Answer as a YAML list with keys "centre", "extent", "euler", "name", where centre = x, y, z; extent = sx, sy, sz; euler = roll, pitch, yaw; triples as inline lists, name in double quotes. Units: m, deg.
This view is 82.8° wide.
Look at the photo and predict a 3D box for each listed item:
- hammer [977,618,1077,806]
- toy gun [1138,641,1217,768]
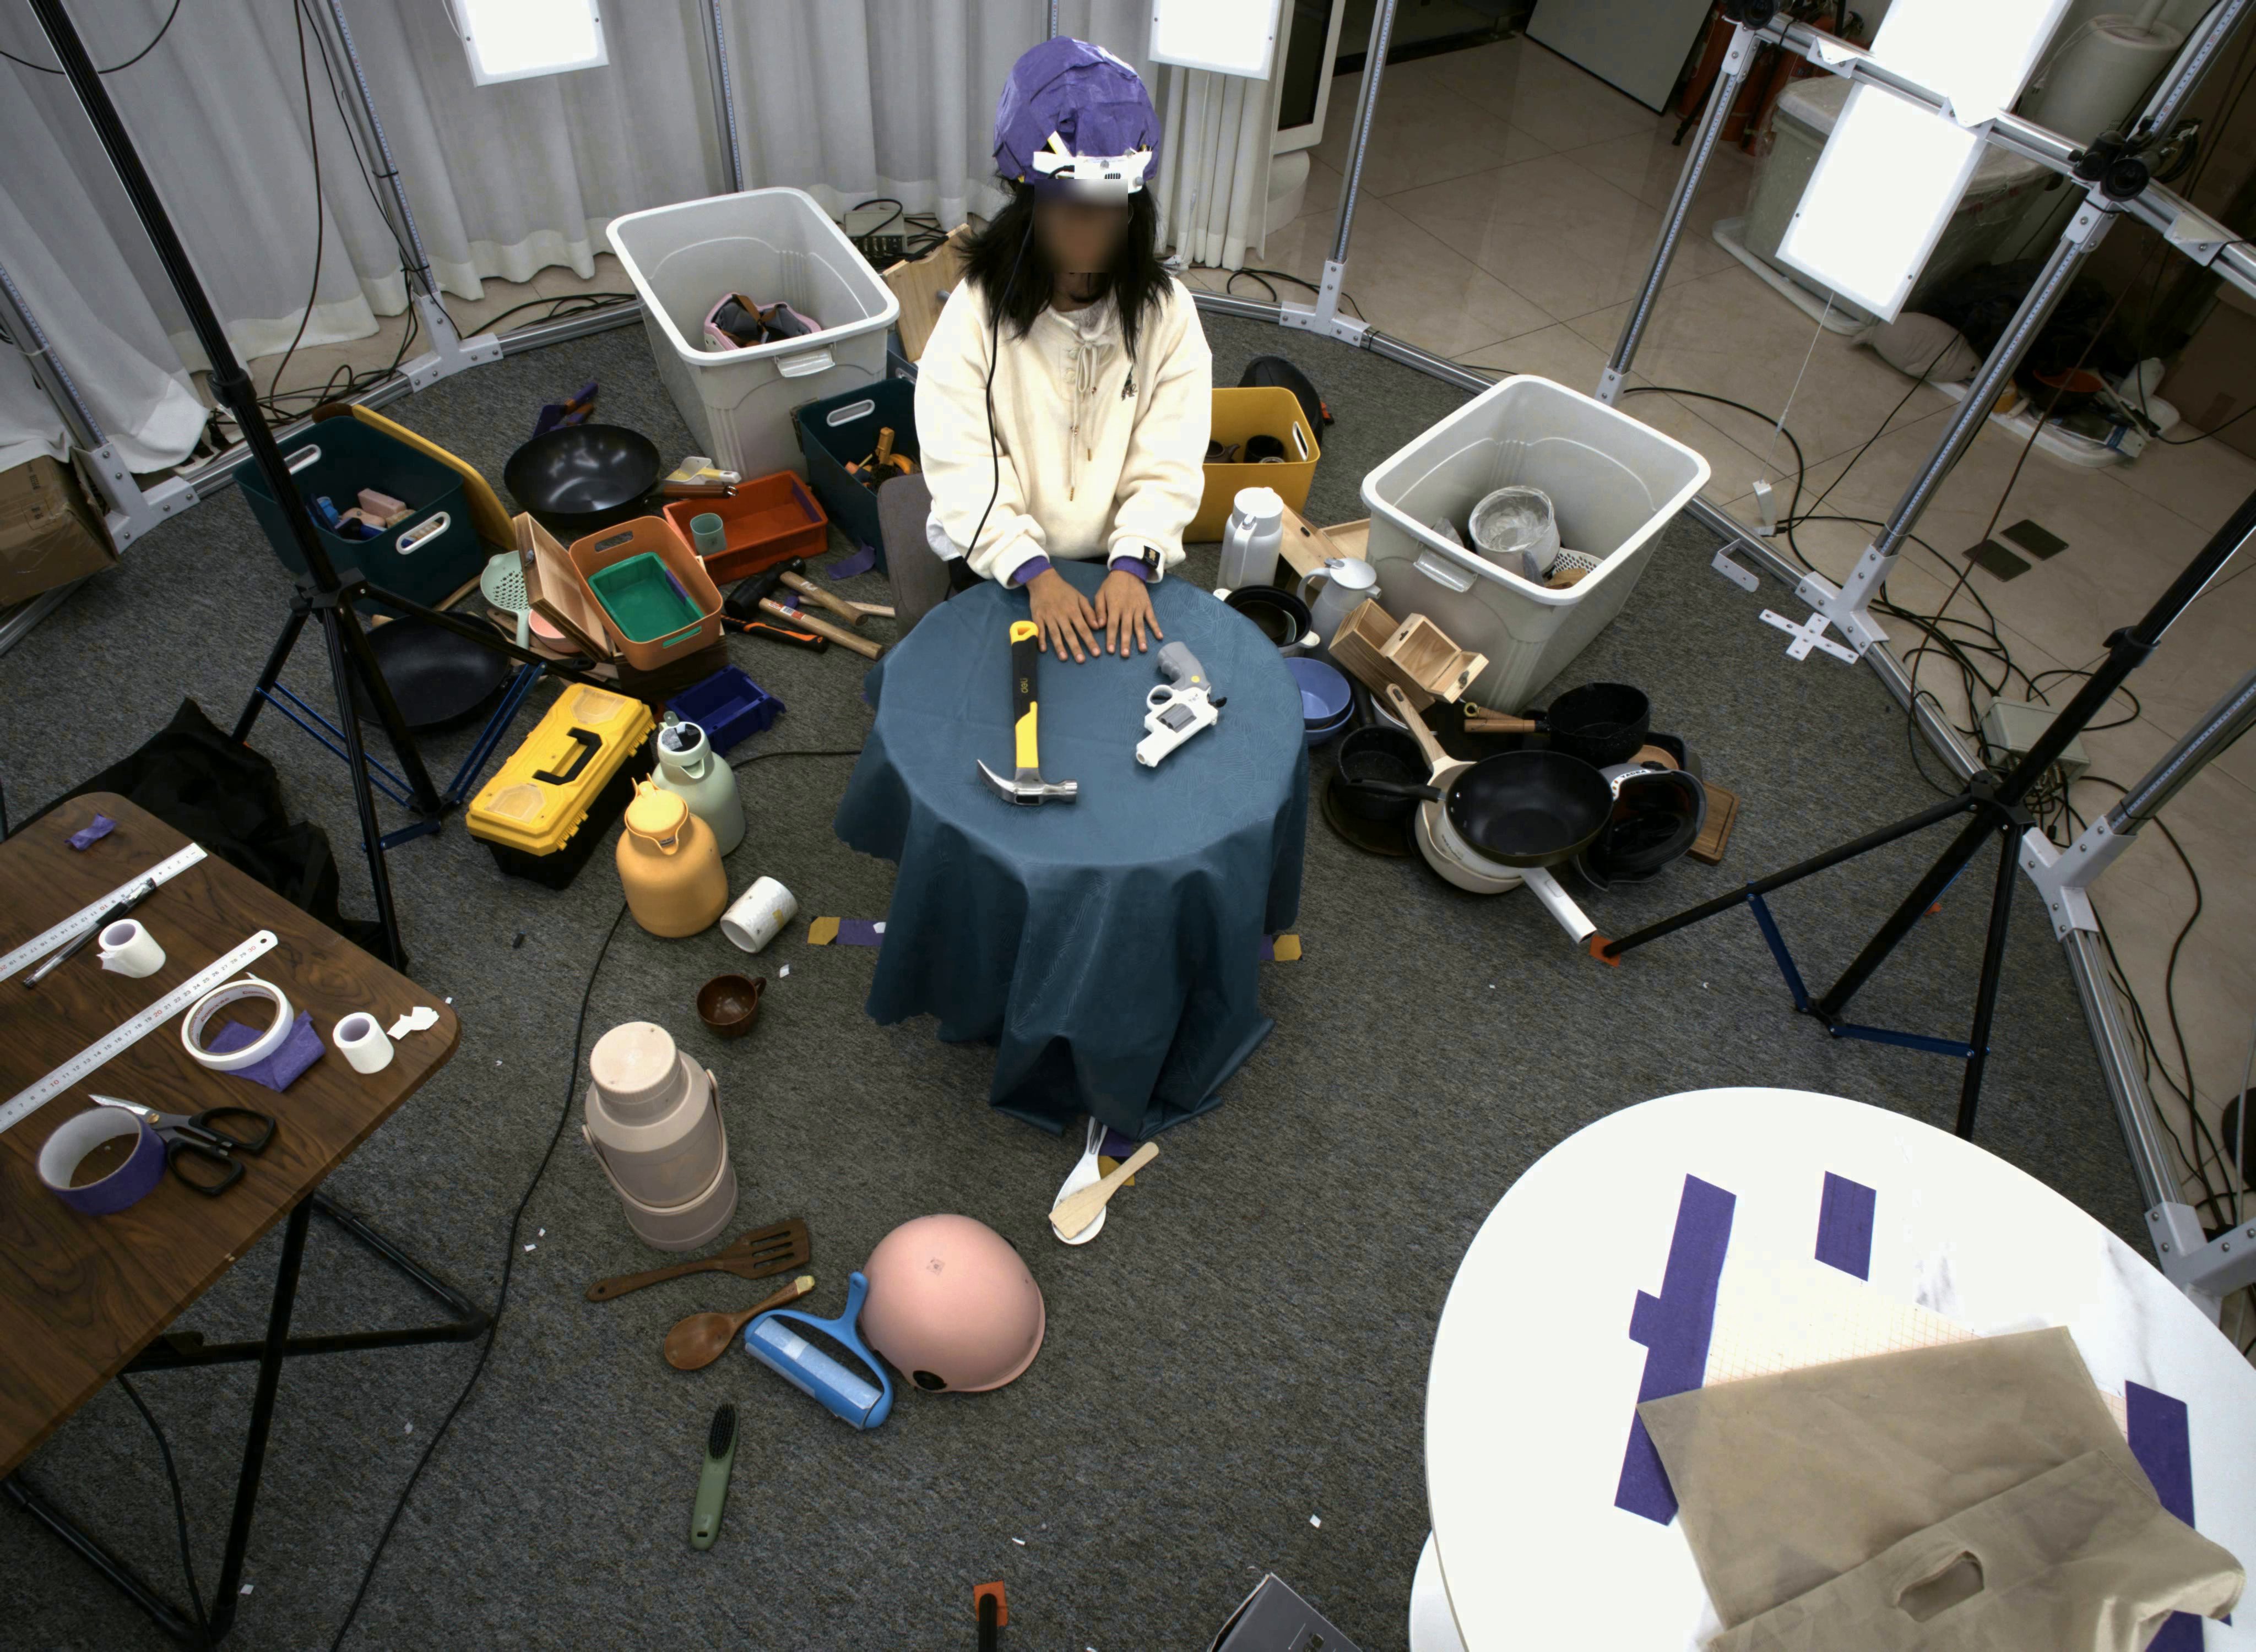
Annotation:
- centre: [-0.141, -0.166, 1.781]
  extent: [0.131, 0.031, 0.347]
  euler: [-2, 50, -3]
  name: "hammer"
- centre: [0.053, -0.173, 1.798]
  extent: [0.143, 0.038, 0.211]
  euler: [36, 56, 23]
  name: "toy gun"
